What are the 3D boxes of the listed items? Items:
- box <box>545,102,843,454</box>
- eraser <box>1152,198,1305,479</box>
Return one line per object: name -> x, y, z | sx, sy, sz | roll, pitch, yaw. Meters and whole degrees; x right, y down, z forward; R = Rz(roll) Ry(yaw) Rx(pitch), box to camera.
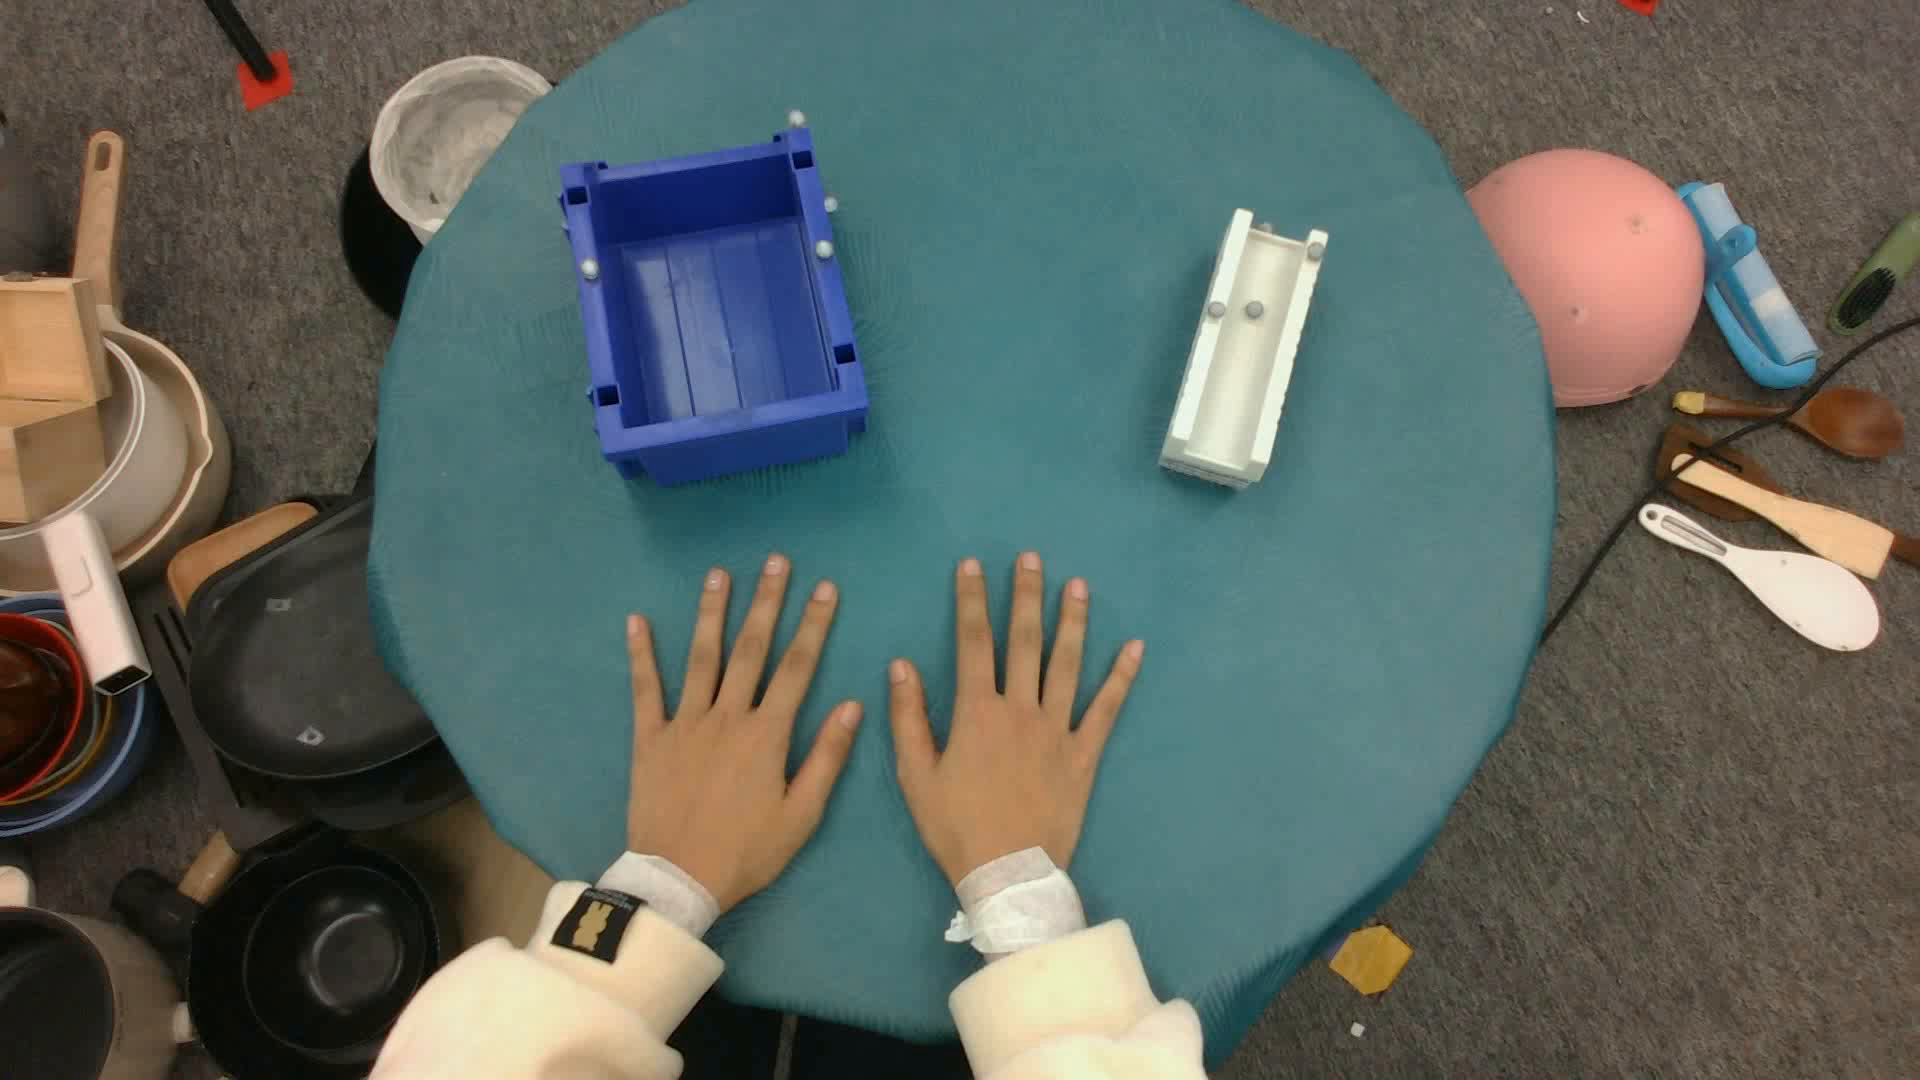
box -> -0.132, -0.134, 0.678 | 0.124, 0.081, 0.180 | -10, 74, -6
eraser -> 0.135, -0.102, 0.698 | 0.050, 0.046, 0.135 | 16, 70, 0
